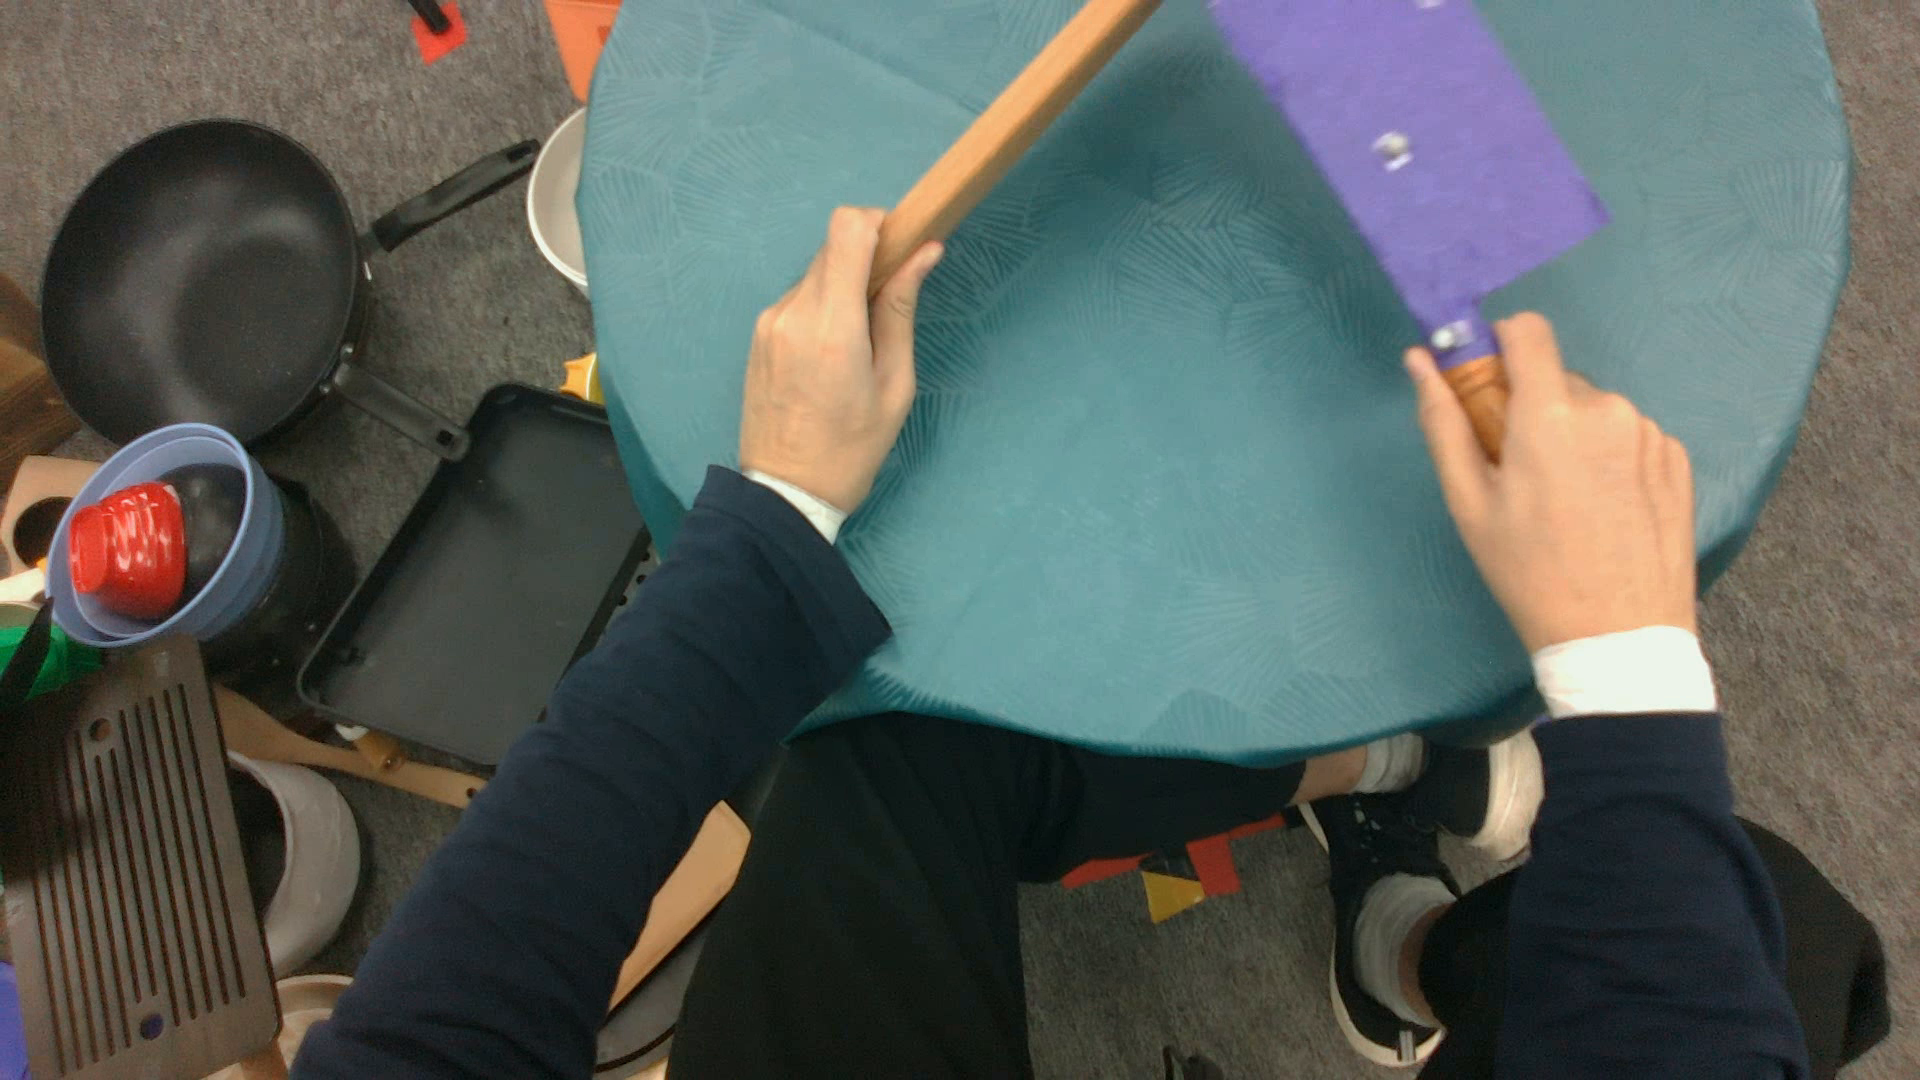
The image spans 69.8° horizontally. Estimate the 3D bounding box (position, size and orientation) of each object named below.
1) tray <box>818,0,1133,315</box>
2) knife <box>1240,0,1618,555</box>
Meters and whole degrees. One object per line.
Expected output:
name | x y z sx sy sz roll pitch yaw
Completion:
tray | 0.019 -0.188 0.602 0.020 0.102 0.231 40 92 -2
knife | 0.191 -0.150 0.535 0.104 0.032 0.315 -30 92 -6
